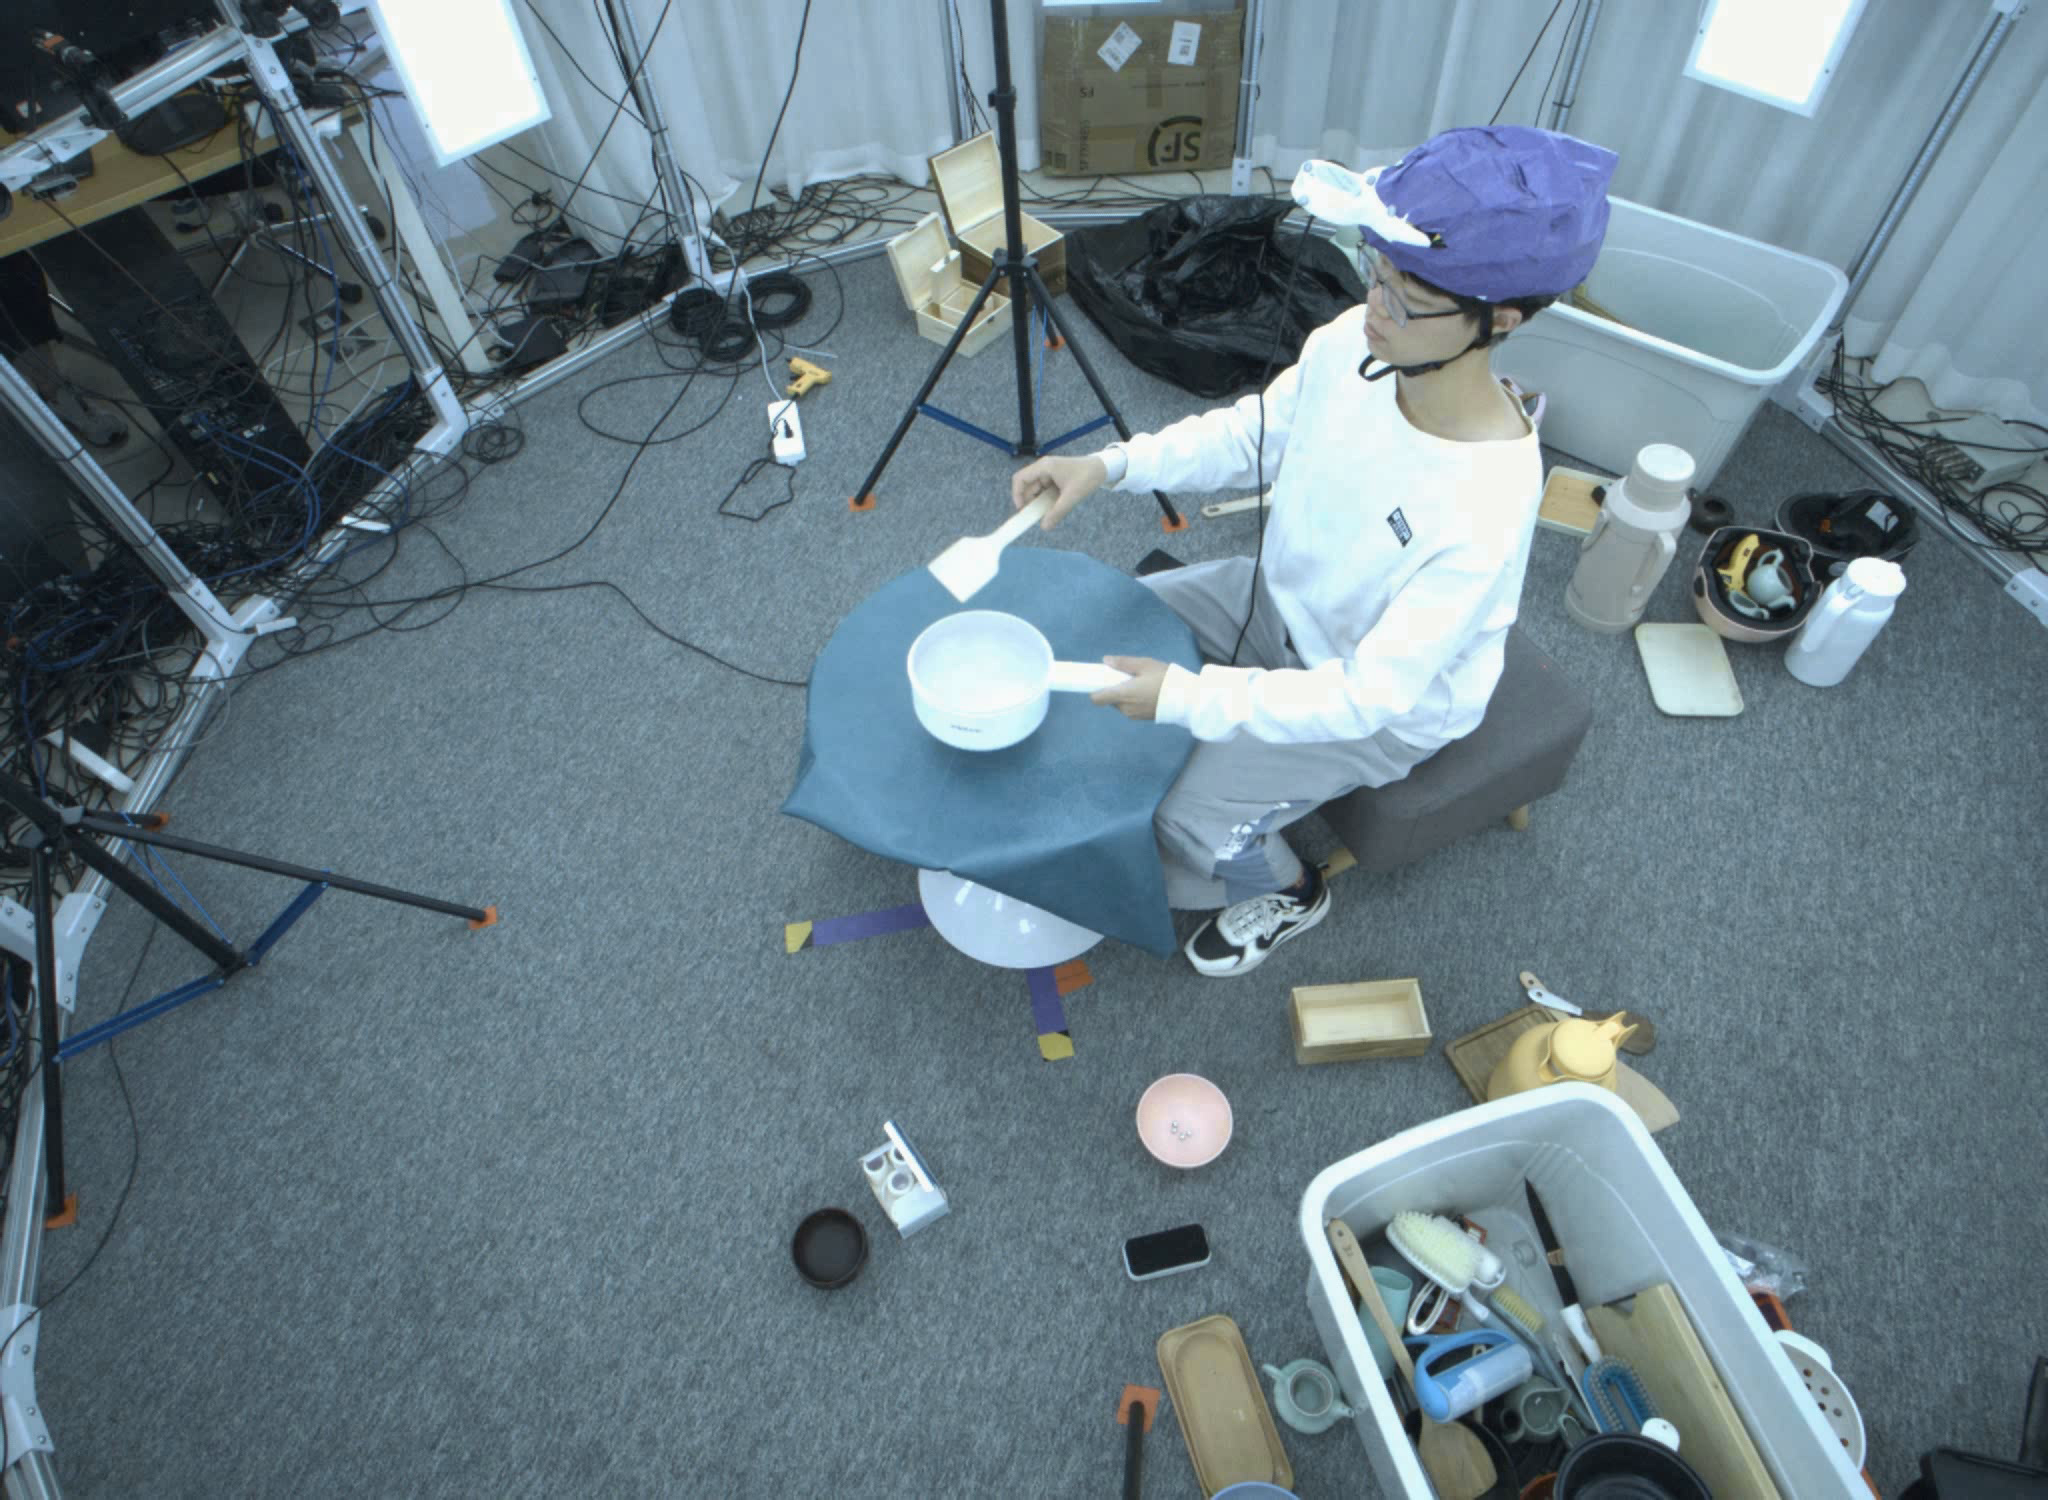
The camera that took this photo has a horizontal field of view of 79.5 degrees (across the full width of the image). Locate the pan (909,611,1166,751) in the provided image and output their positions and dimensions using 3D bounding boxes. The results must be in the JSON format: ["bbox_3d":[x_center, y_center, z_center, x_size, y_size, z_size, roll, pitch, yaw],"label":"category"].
[{"bbox_3d":[0.018,-0.085,1.721,0.355,0.103,0.199,5,49,0],"label":"pan"}]

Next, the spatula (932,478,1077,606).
[{"bbox_3d":[-0.018,-0.304,1.714,0.072,0.010,0.295,45,58,-2],"label":"spatula"}]
